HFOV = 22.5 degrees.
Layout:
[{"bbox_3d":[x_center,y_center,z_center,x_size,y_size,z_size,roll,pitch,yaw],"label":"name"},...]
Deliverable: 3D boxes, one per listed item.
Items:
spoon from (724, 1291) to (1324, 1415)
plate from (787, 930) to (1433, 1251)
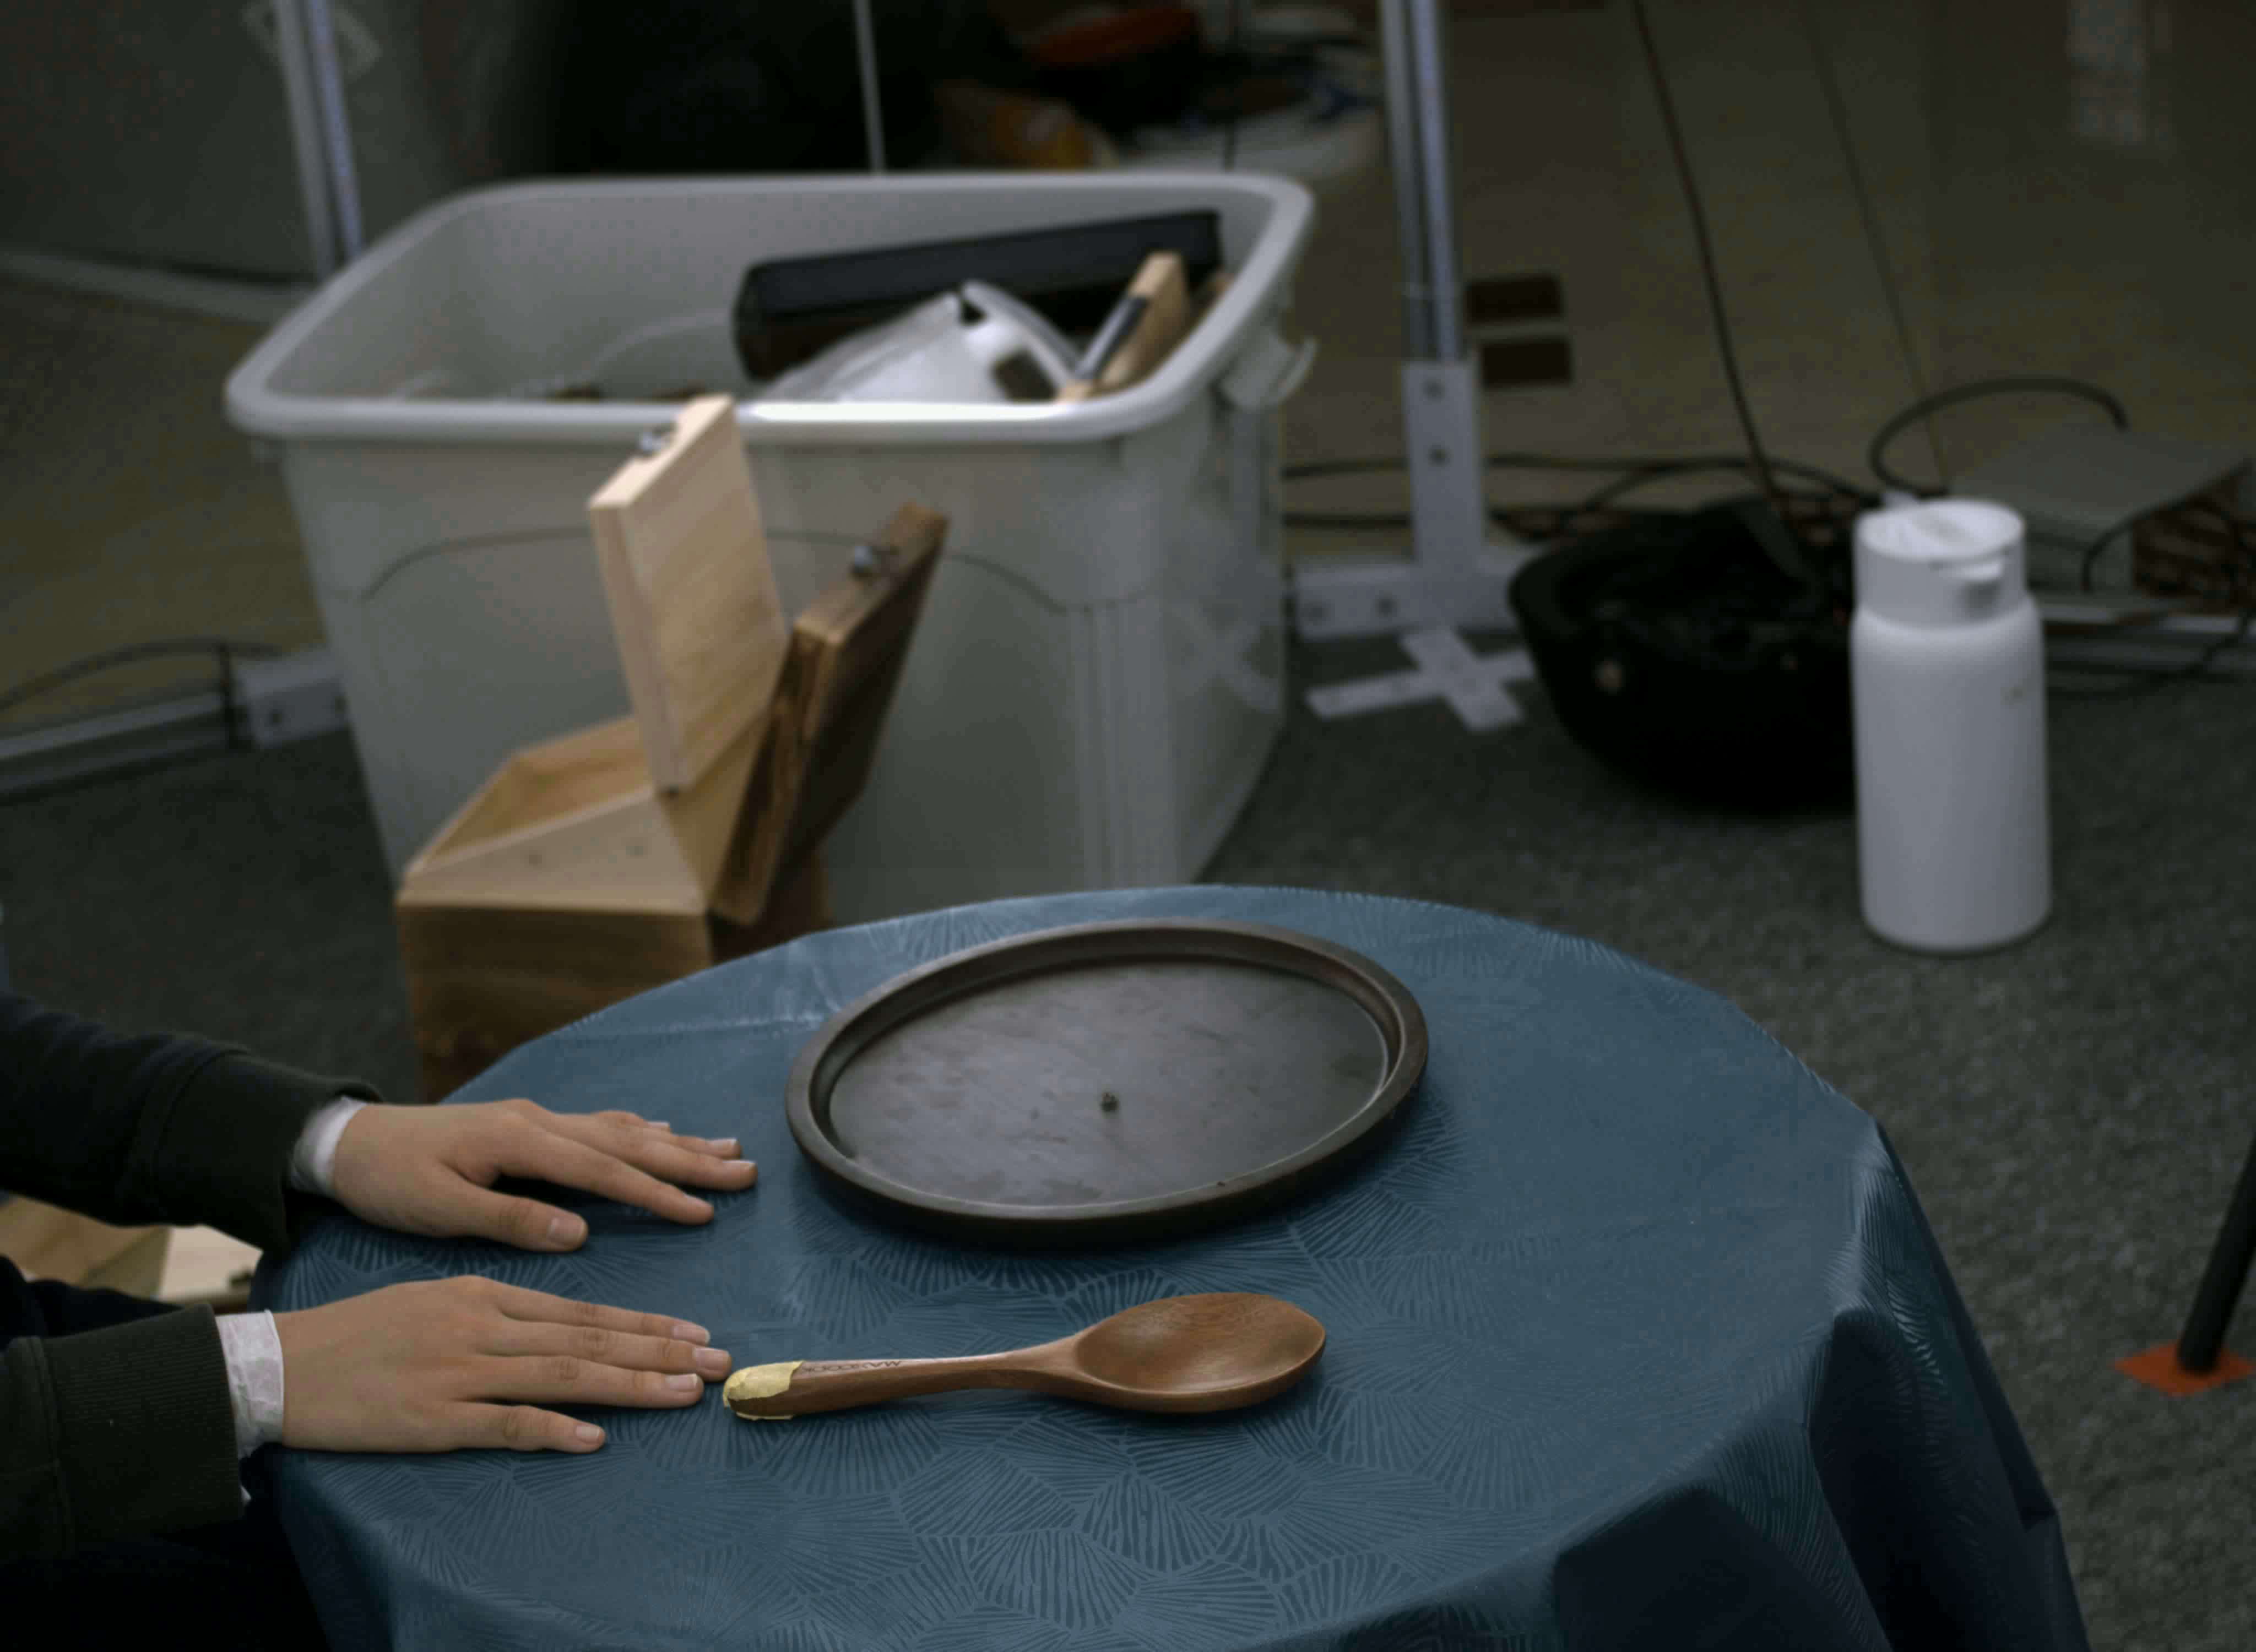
[{"bbox_3d":[-0.037,0.194,2.023,0.215,0.017,0.074,-4,25,4],"label":"spoon"},{"bbox_3d":[-0.007,0.101,2.210,0.254,0.029,0.251,-4,25,2],"label":"plate"}]
